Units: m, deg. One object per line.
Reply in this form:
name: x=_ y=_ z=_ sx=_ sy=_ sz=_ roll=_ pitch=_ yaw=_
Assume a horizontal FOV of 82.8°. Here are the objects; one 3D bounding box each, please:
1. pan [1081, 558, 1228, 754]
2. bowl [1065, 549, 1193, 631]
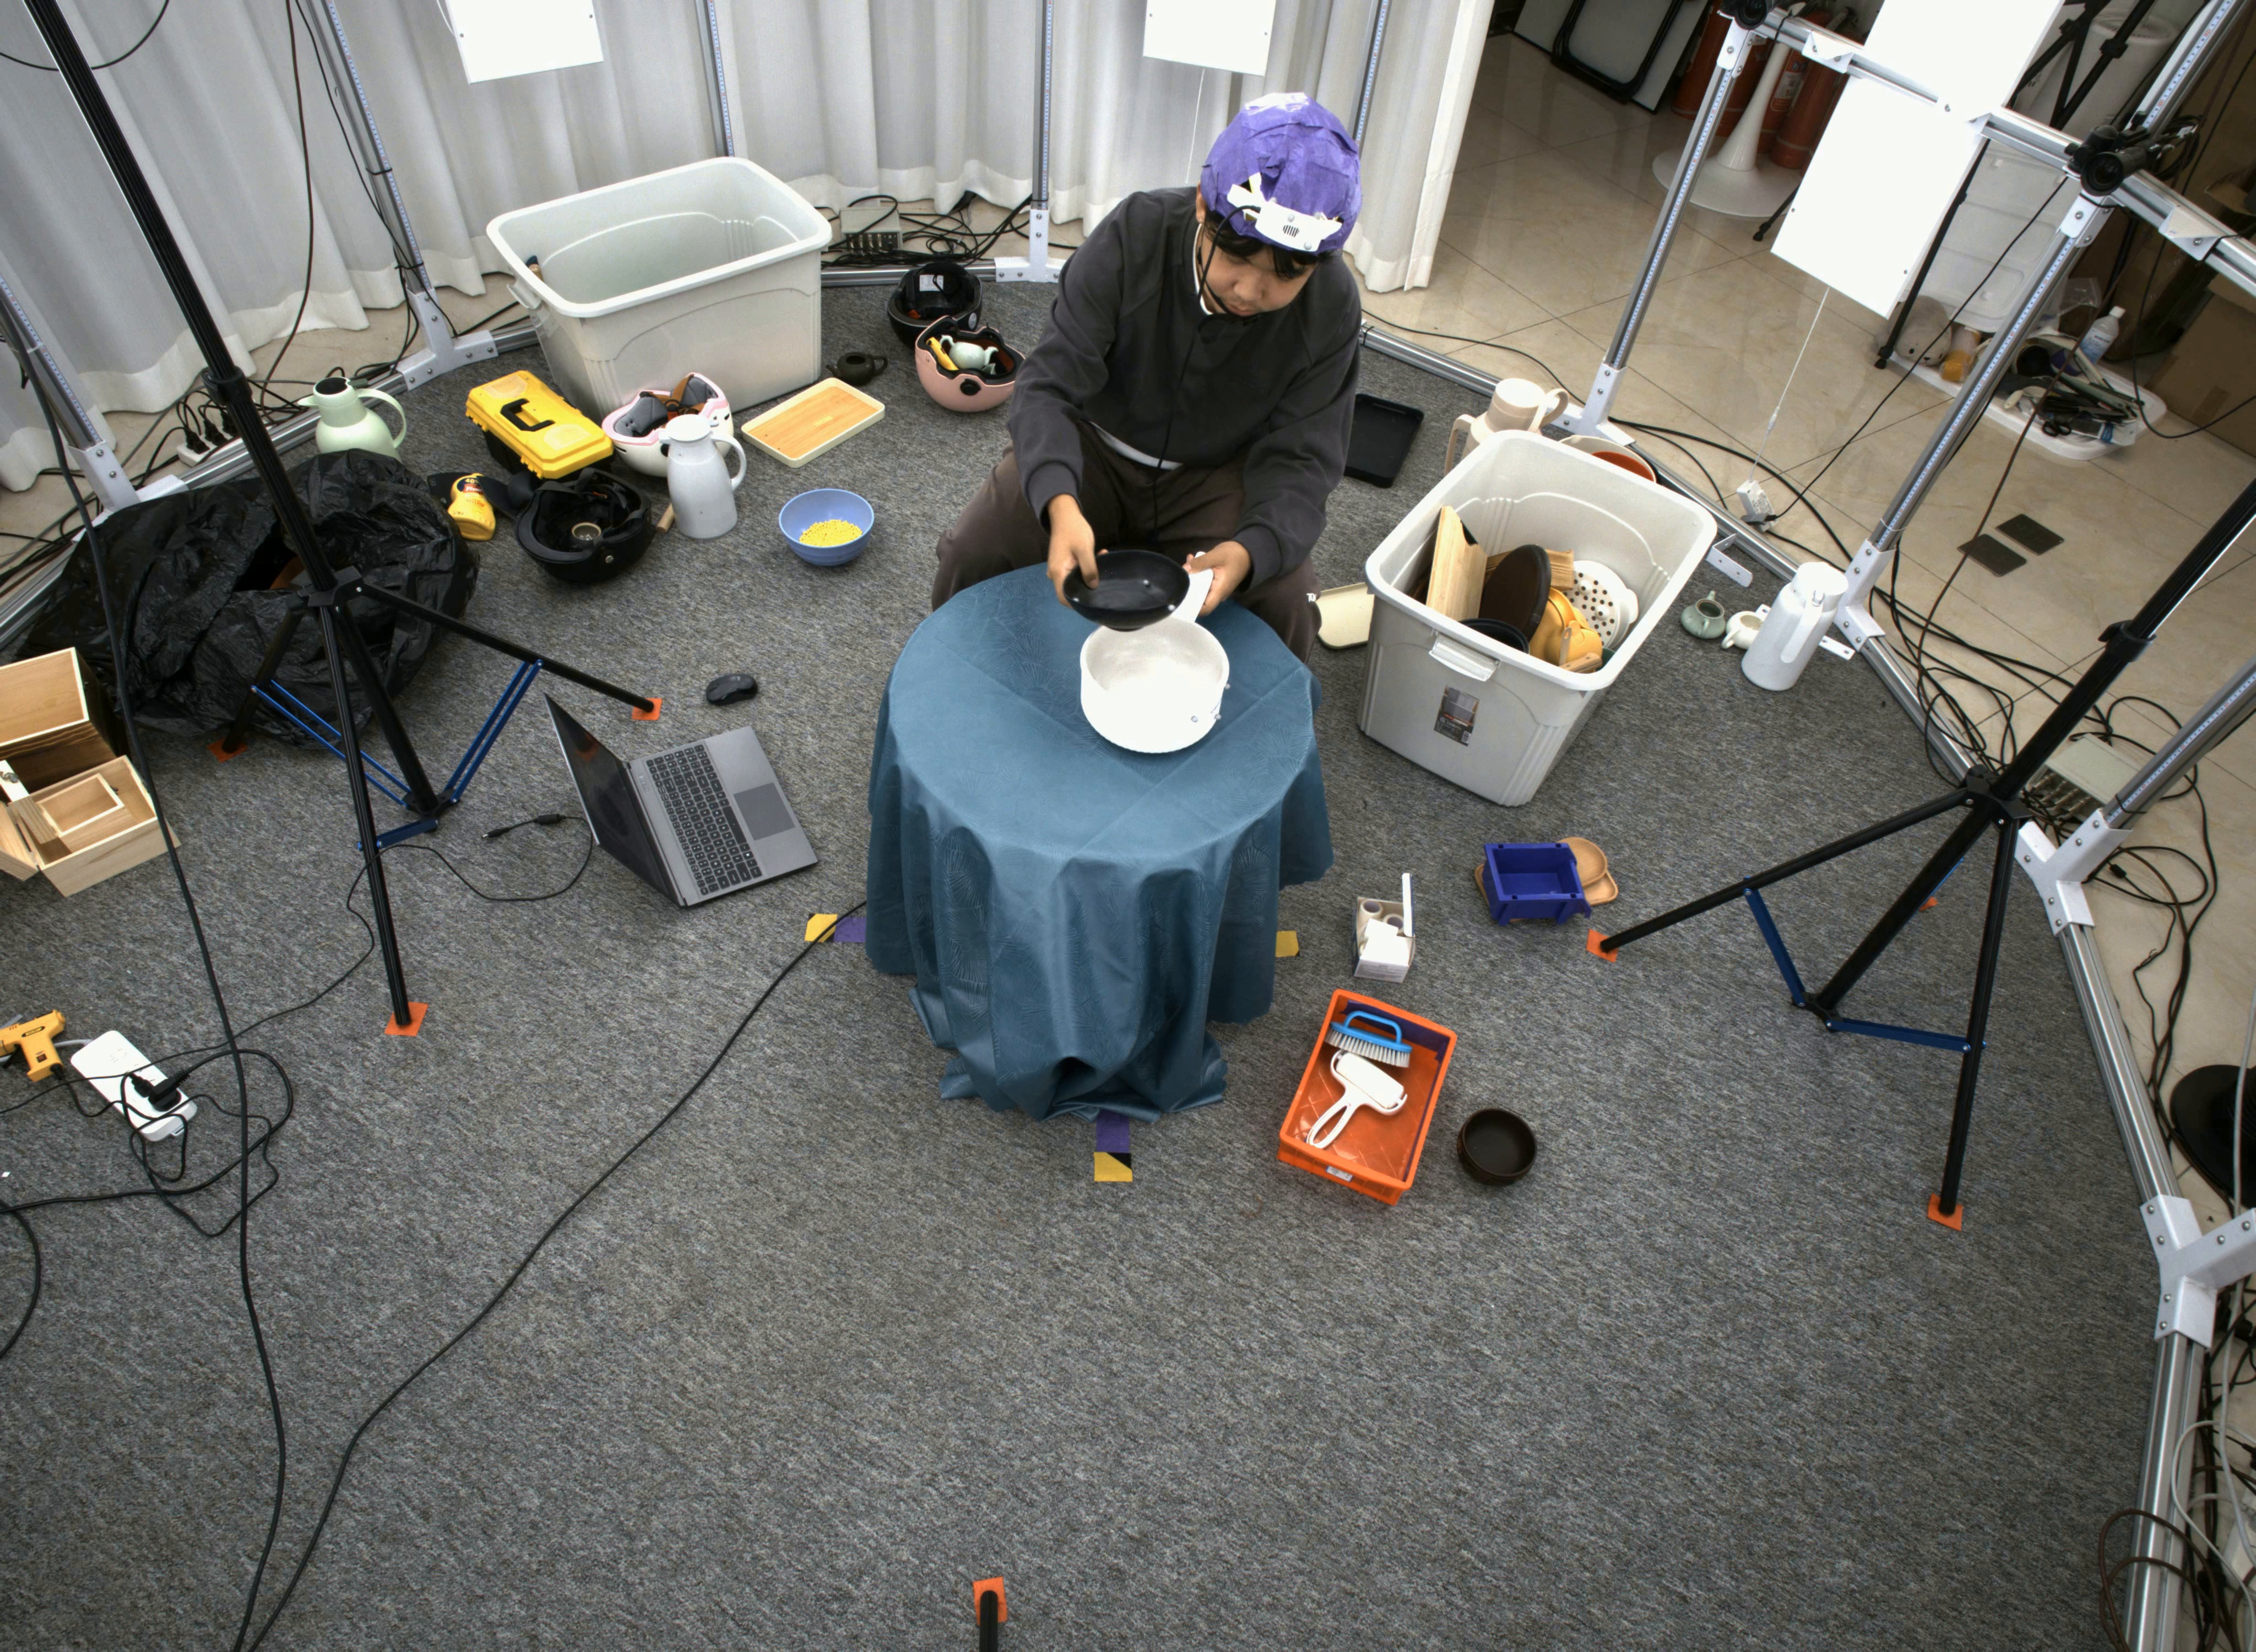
pan: x=0.059 y=-0.244 z=1.825 sx=0.202 sy=0.099 sz=0.362 roll=16 pitch=47 yaw=11
bowl: x=0.001 y=-0.304 z=1.714 sx=0.170 sy=0.065 sz=0.141 roll=-2 pitch=44 yaw=1
